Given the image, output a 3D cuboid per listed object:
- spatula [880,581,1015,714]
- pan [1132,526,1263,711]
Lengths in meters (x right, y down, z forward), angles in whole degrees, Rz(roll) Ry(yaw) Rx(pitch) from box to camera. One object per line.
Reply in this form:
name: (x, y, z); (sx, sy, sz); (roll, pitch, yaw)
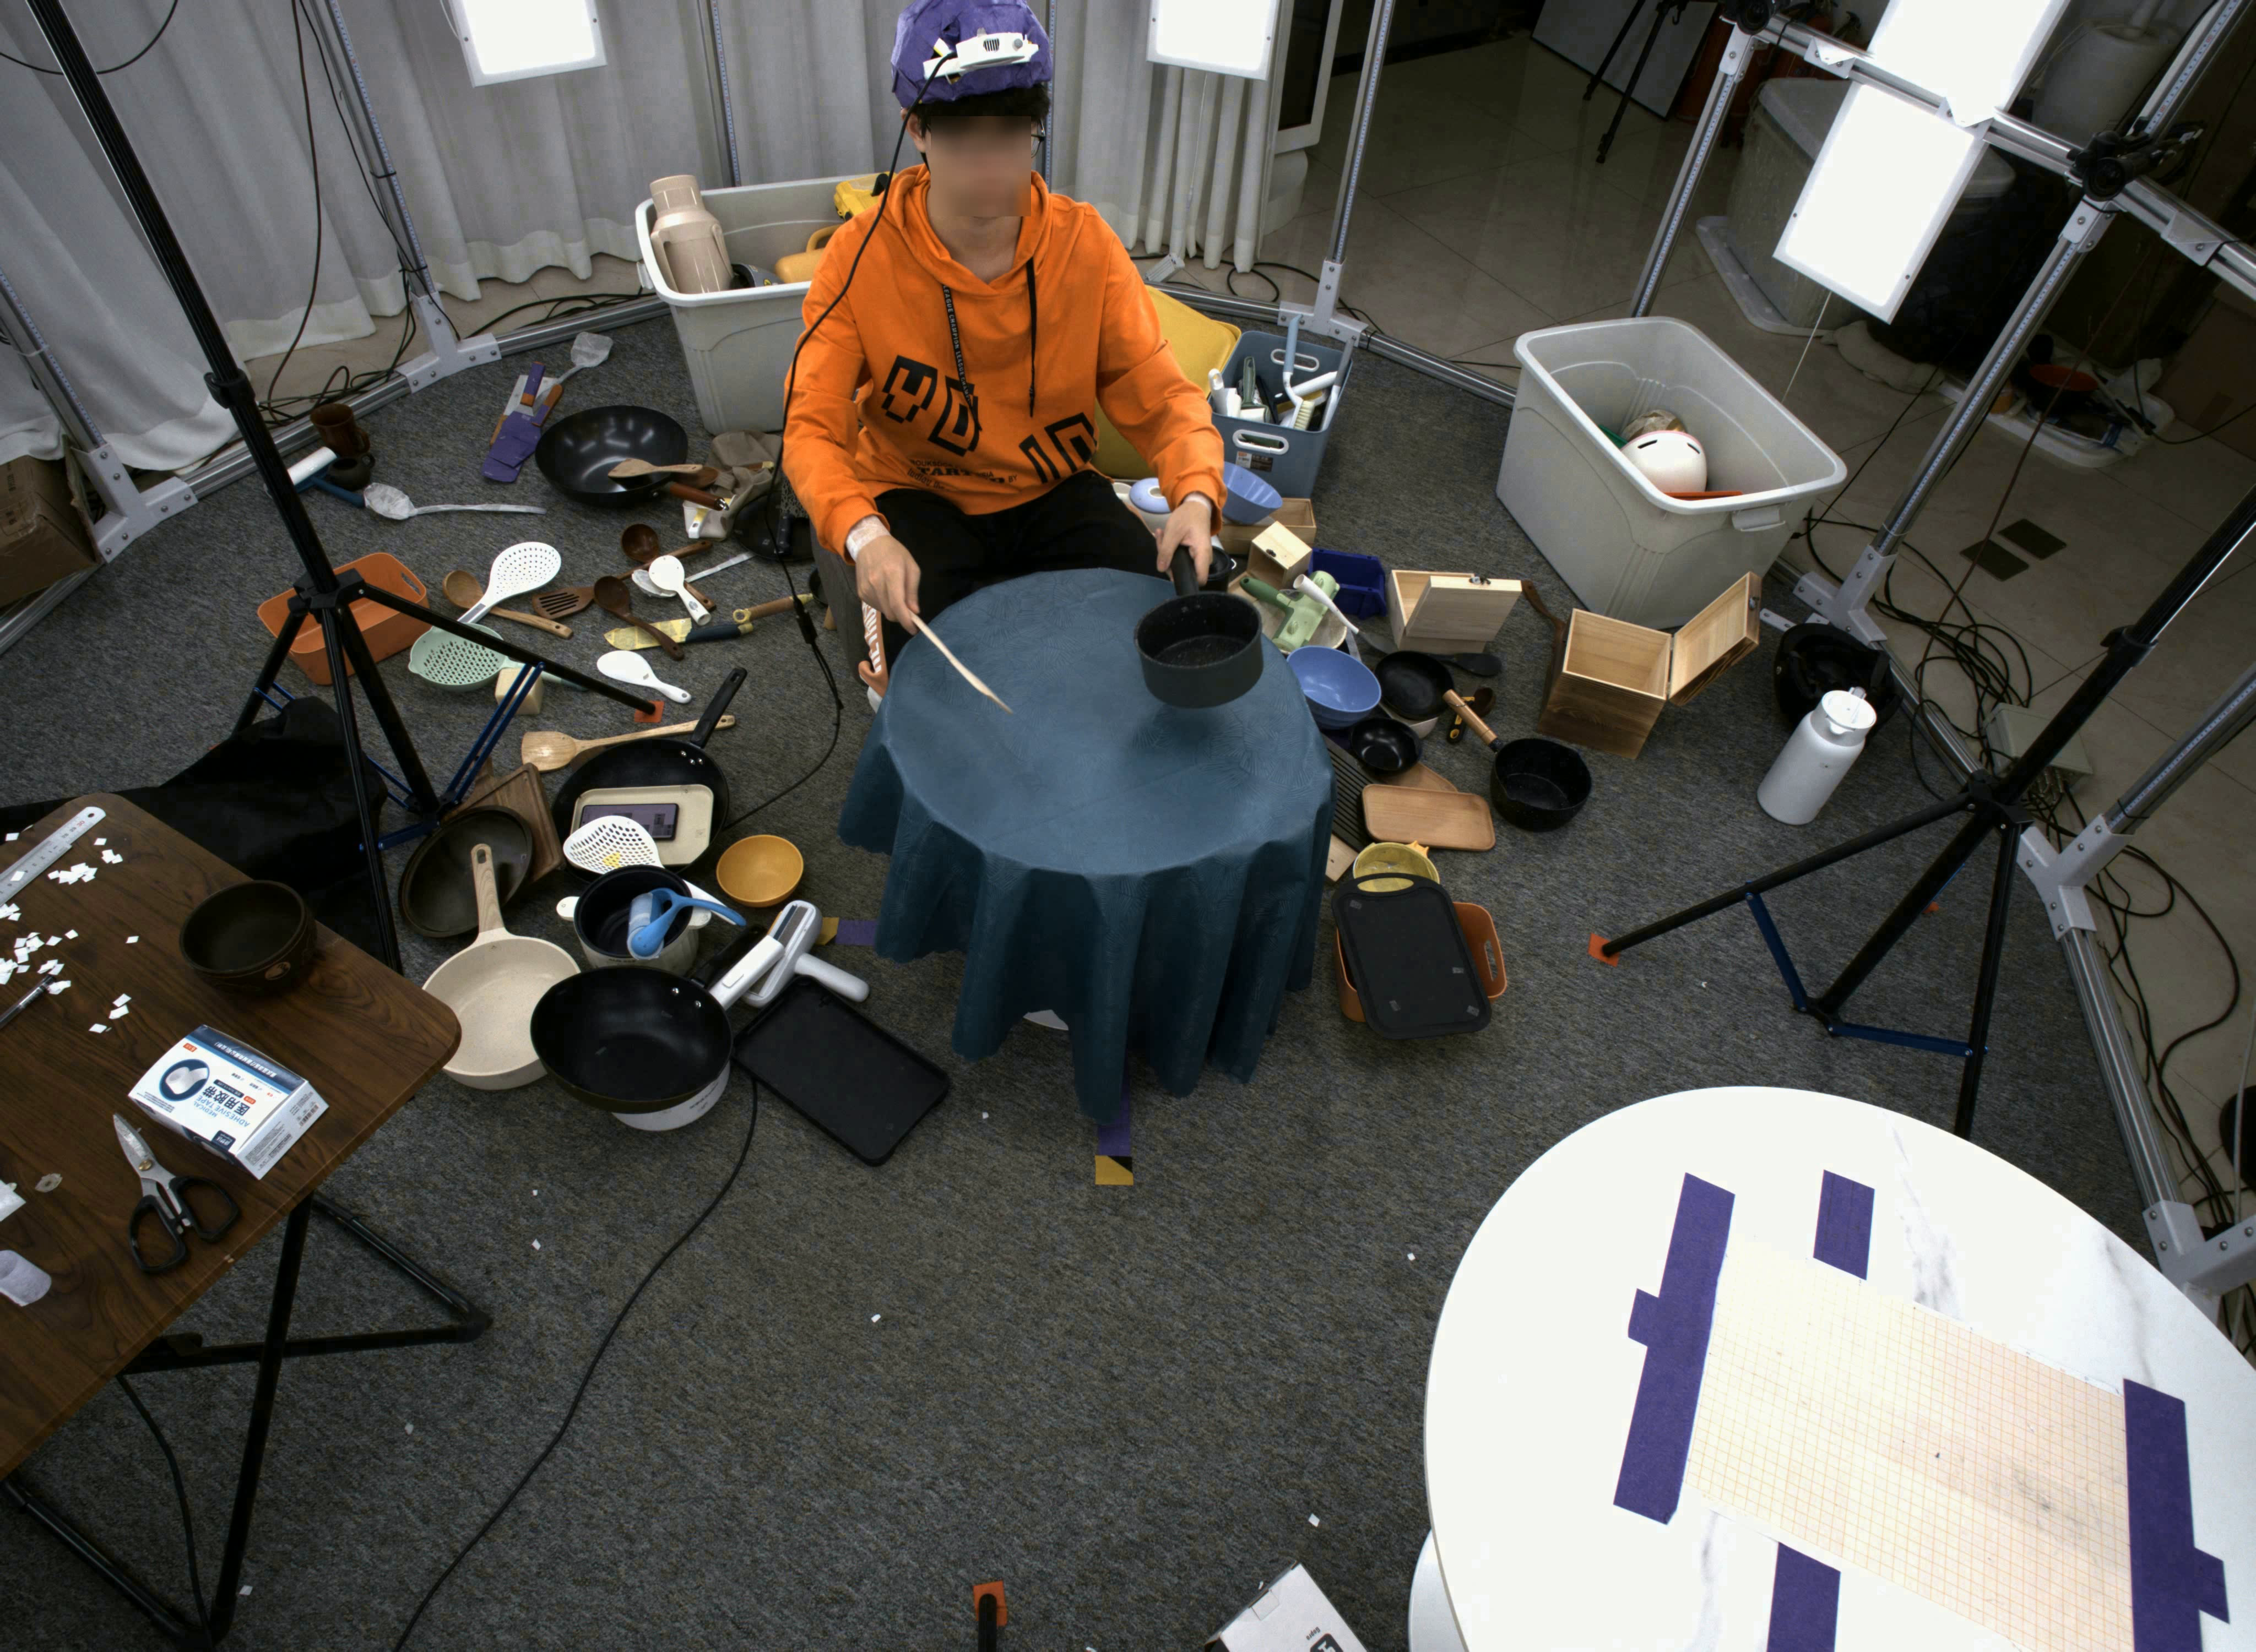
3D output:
spatula: (-0.249, -0.243, 1.709); (0.010, 0.071, 0.298); (-48, 58, 7)
pan: (0.091, -0.289, 1.773); (0.172, 0.084, 0.337); (-7, 44, 3)
